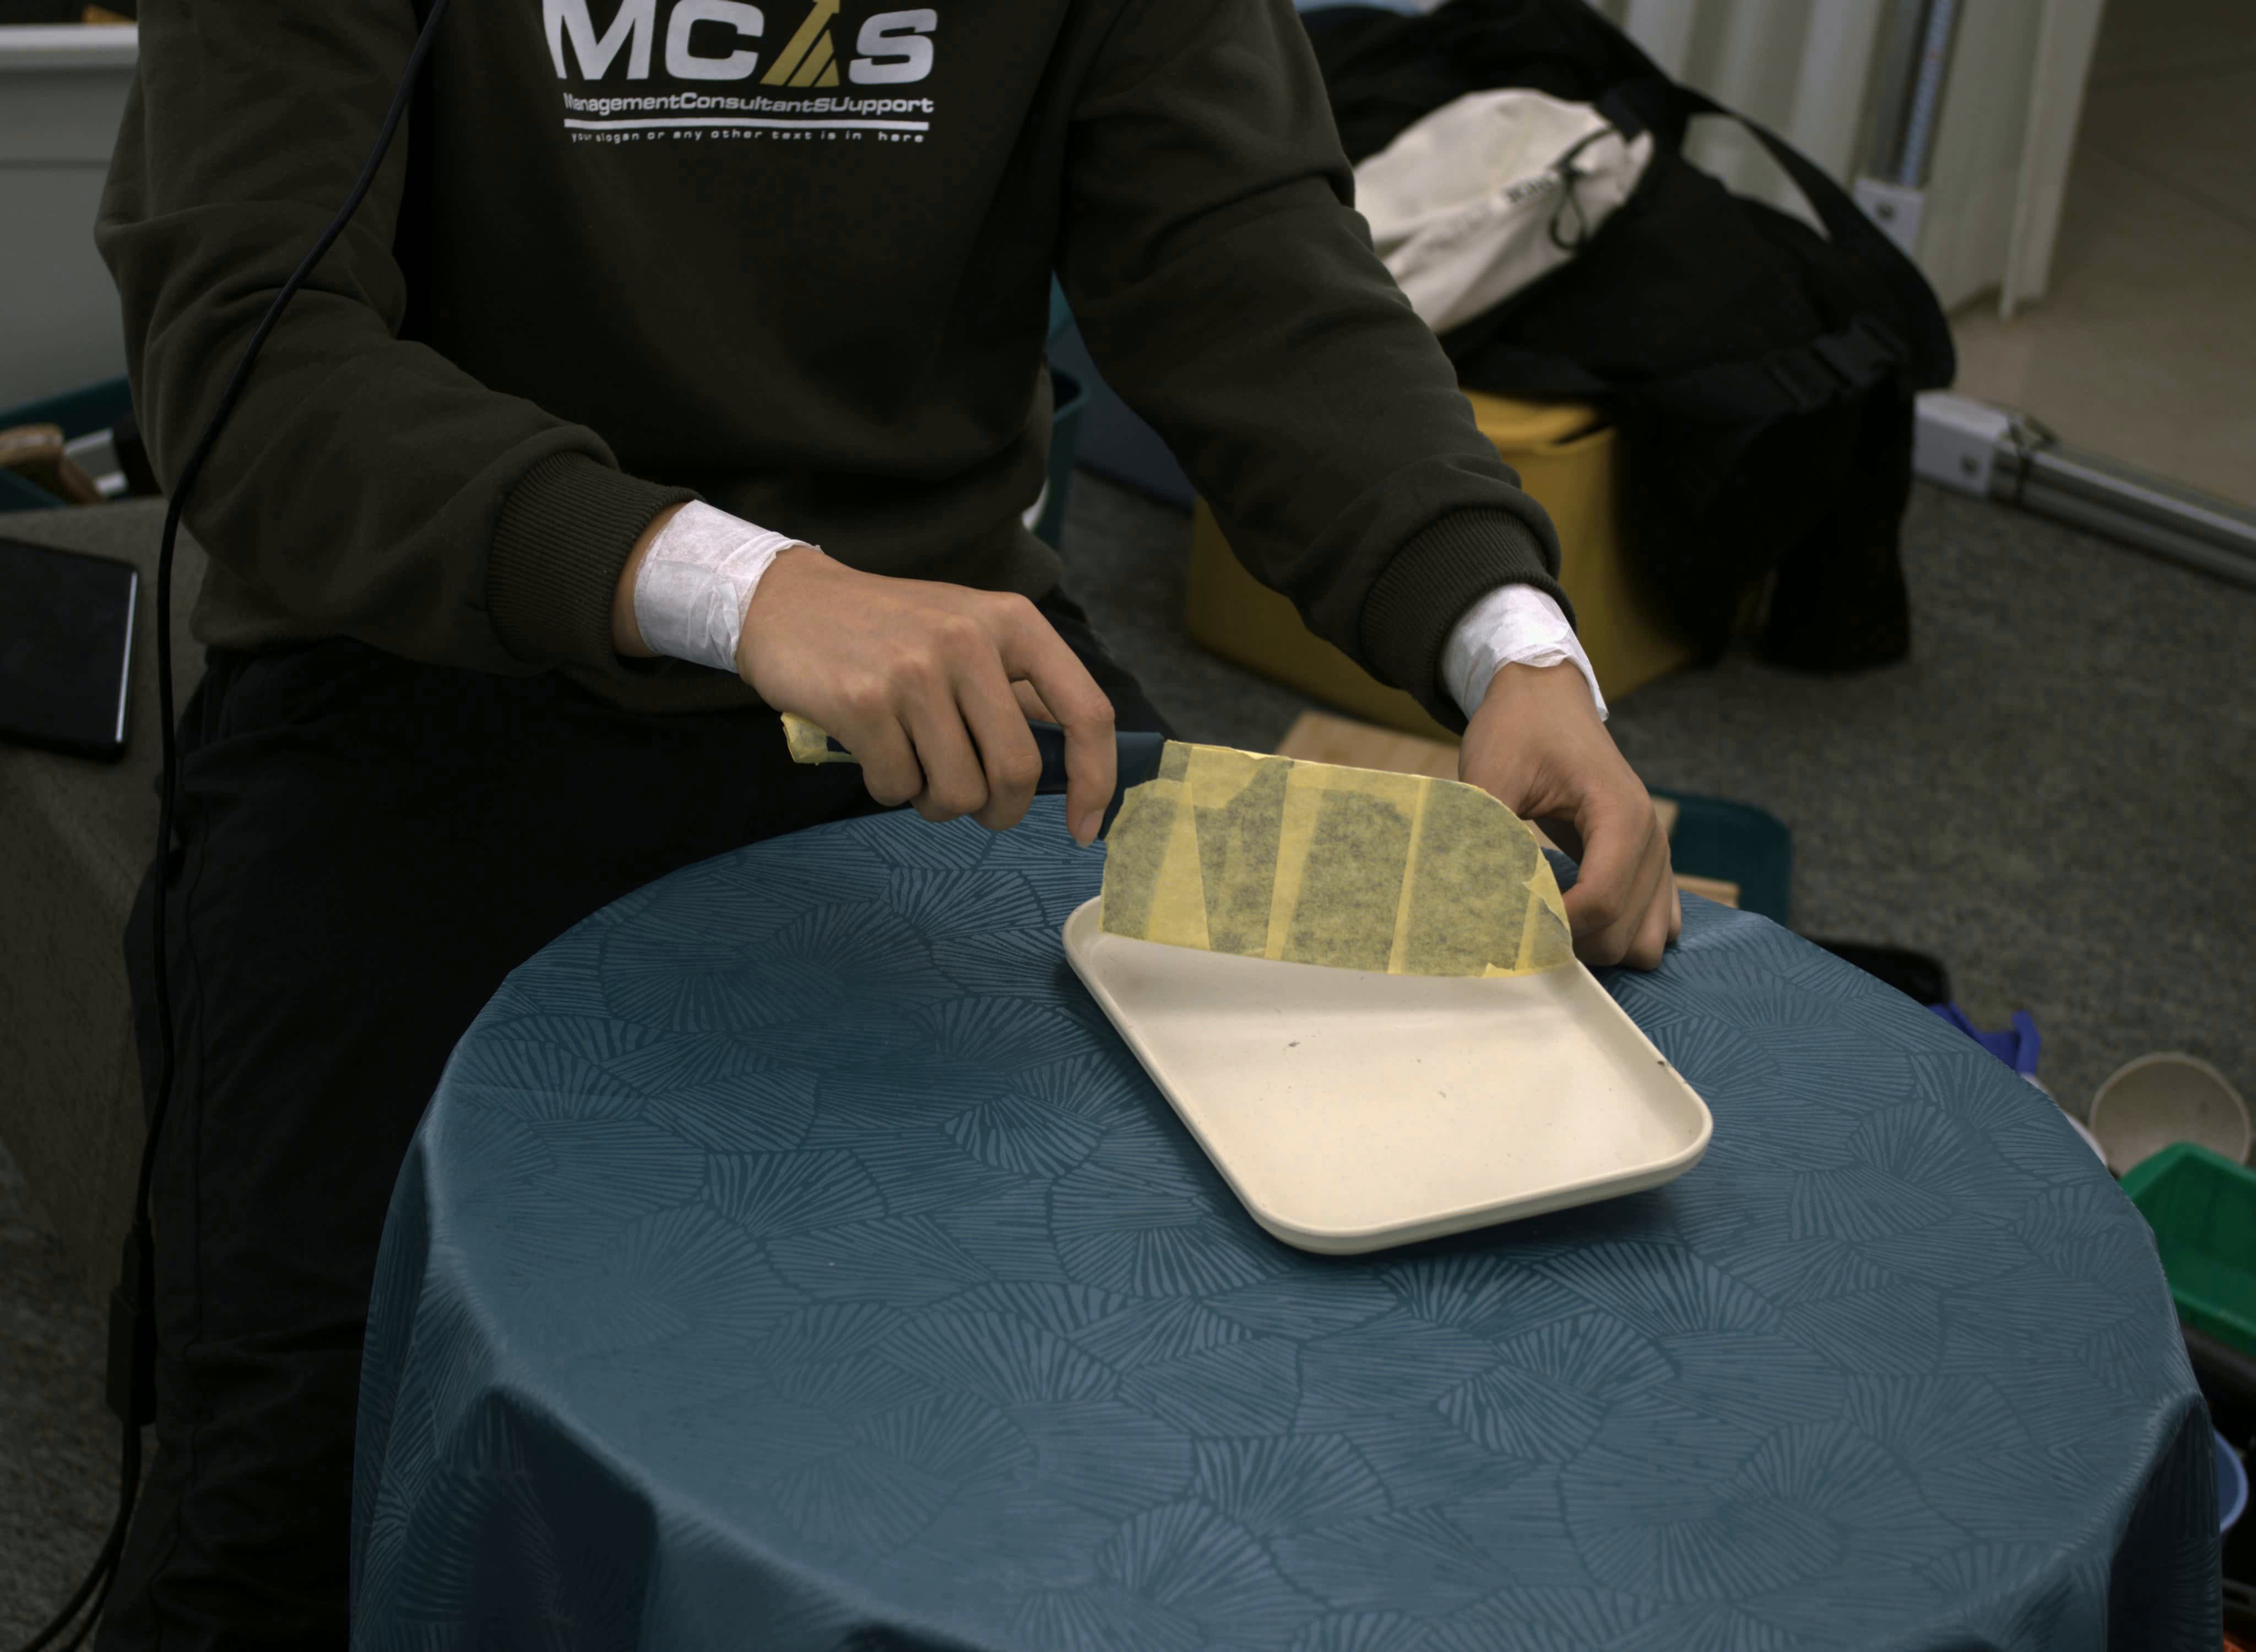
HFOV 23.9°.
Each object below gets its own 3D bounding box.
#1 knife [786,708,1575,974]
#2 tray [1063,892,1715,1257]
[{"bbox_3d":[0.018,0.005,1.885,0.288,0.081,0.027,11,4,-3],"label":"knife"},{"bbox_3d":[0.089,0.076,1.881,0.170,0.017,0.242,-12,31,-17],"label":"tray"}]
